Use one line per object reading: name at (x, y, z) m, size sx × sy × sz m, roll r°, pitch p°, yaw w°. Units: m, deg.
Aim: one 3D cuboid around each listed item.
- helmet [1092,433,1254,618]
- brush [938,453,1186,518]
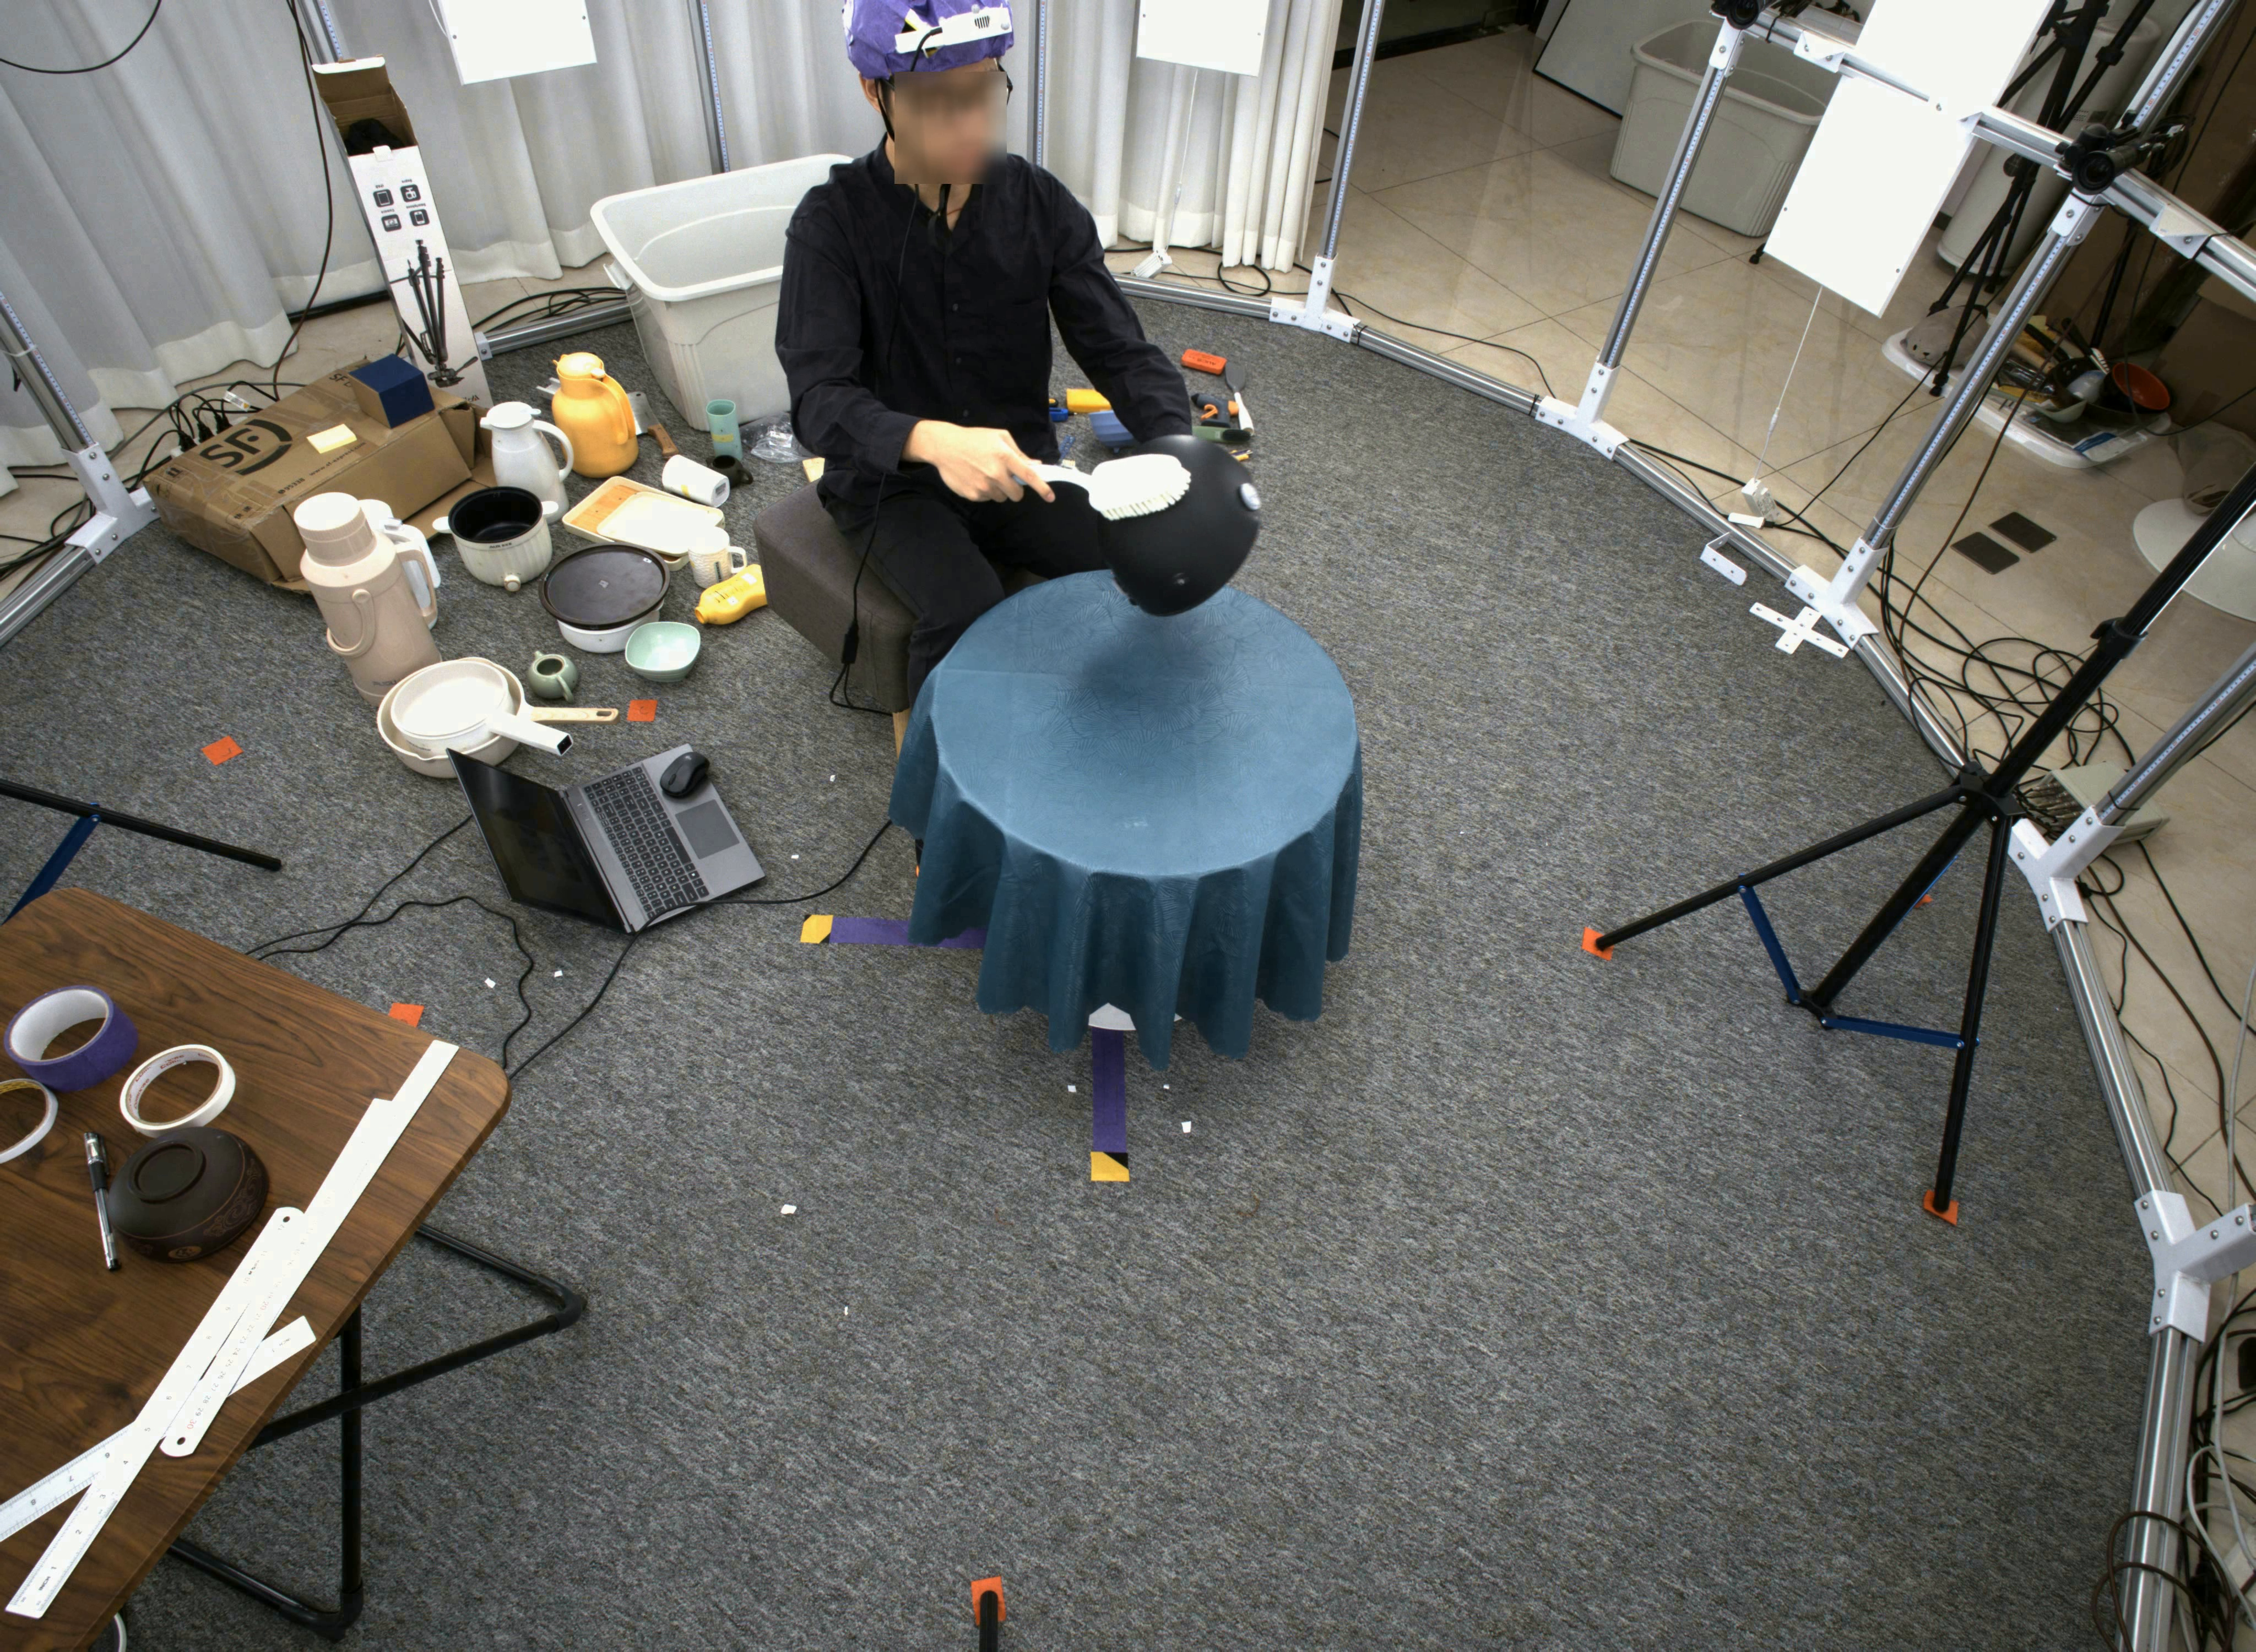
helmet at (0.047, -0.422, 1.731) m, size 0.228 × 0.164 × 0.280 m, roll -32°, pitch 34°, yaw 27°
brush at (-0.083, -0.438, 1.658) m, size 0.326 × 0.082 × 0.085 m, roll 1°, pitch 34°, yaw 16°
